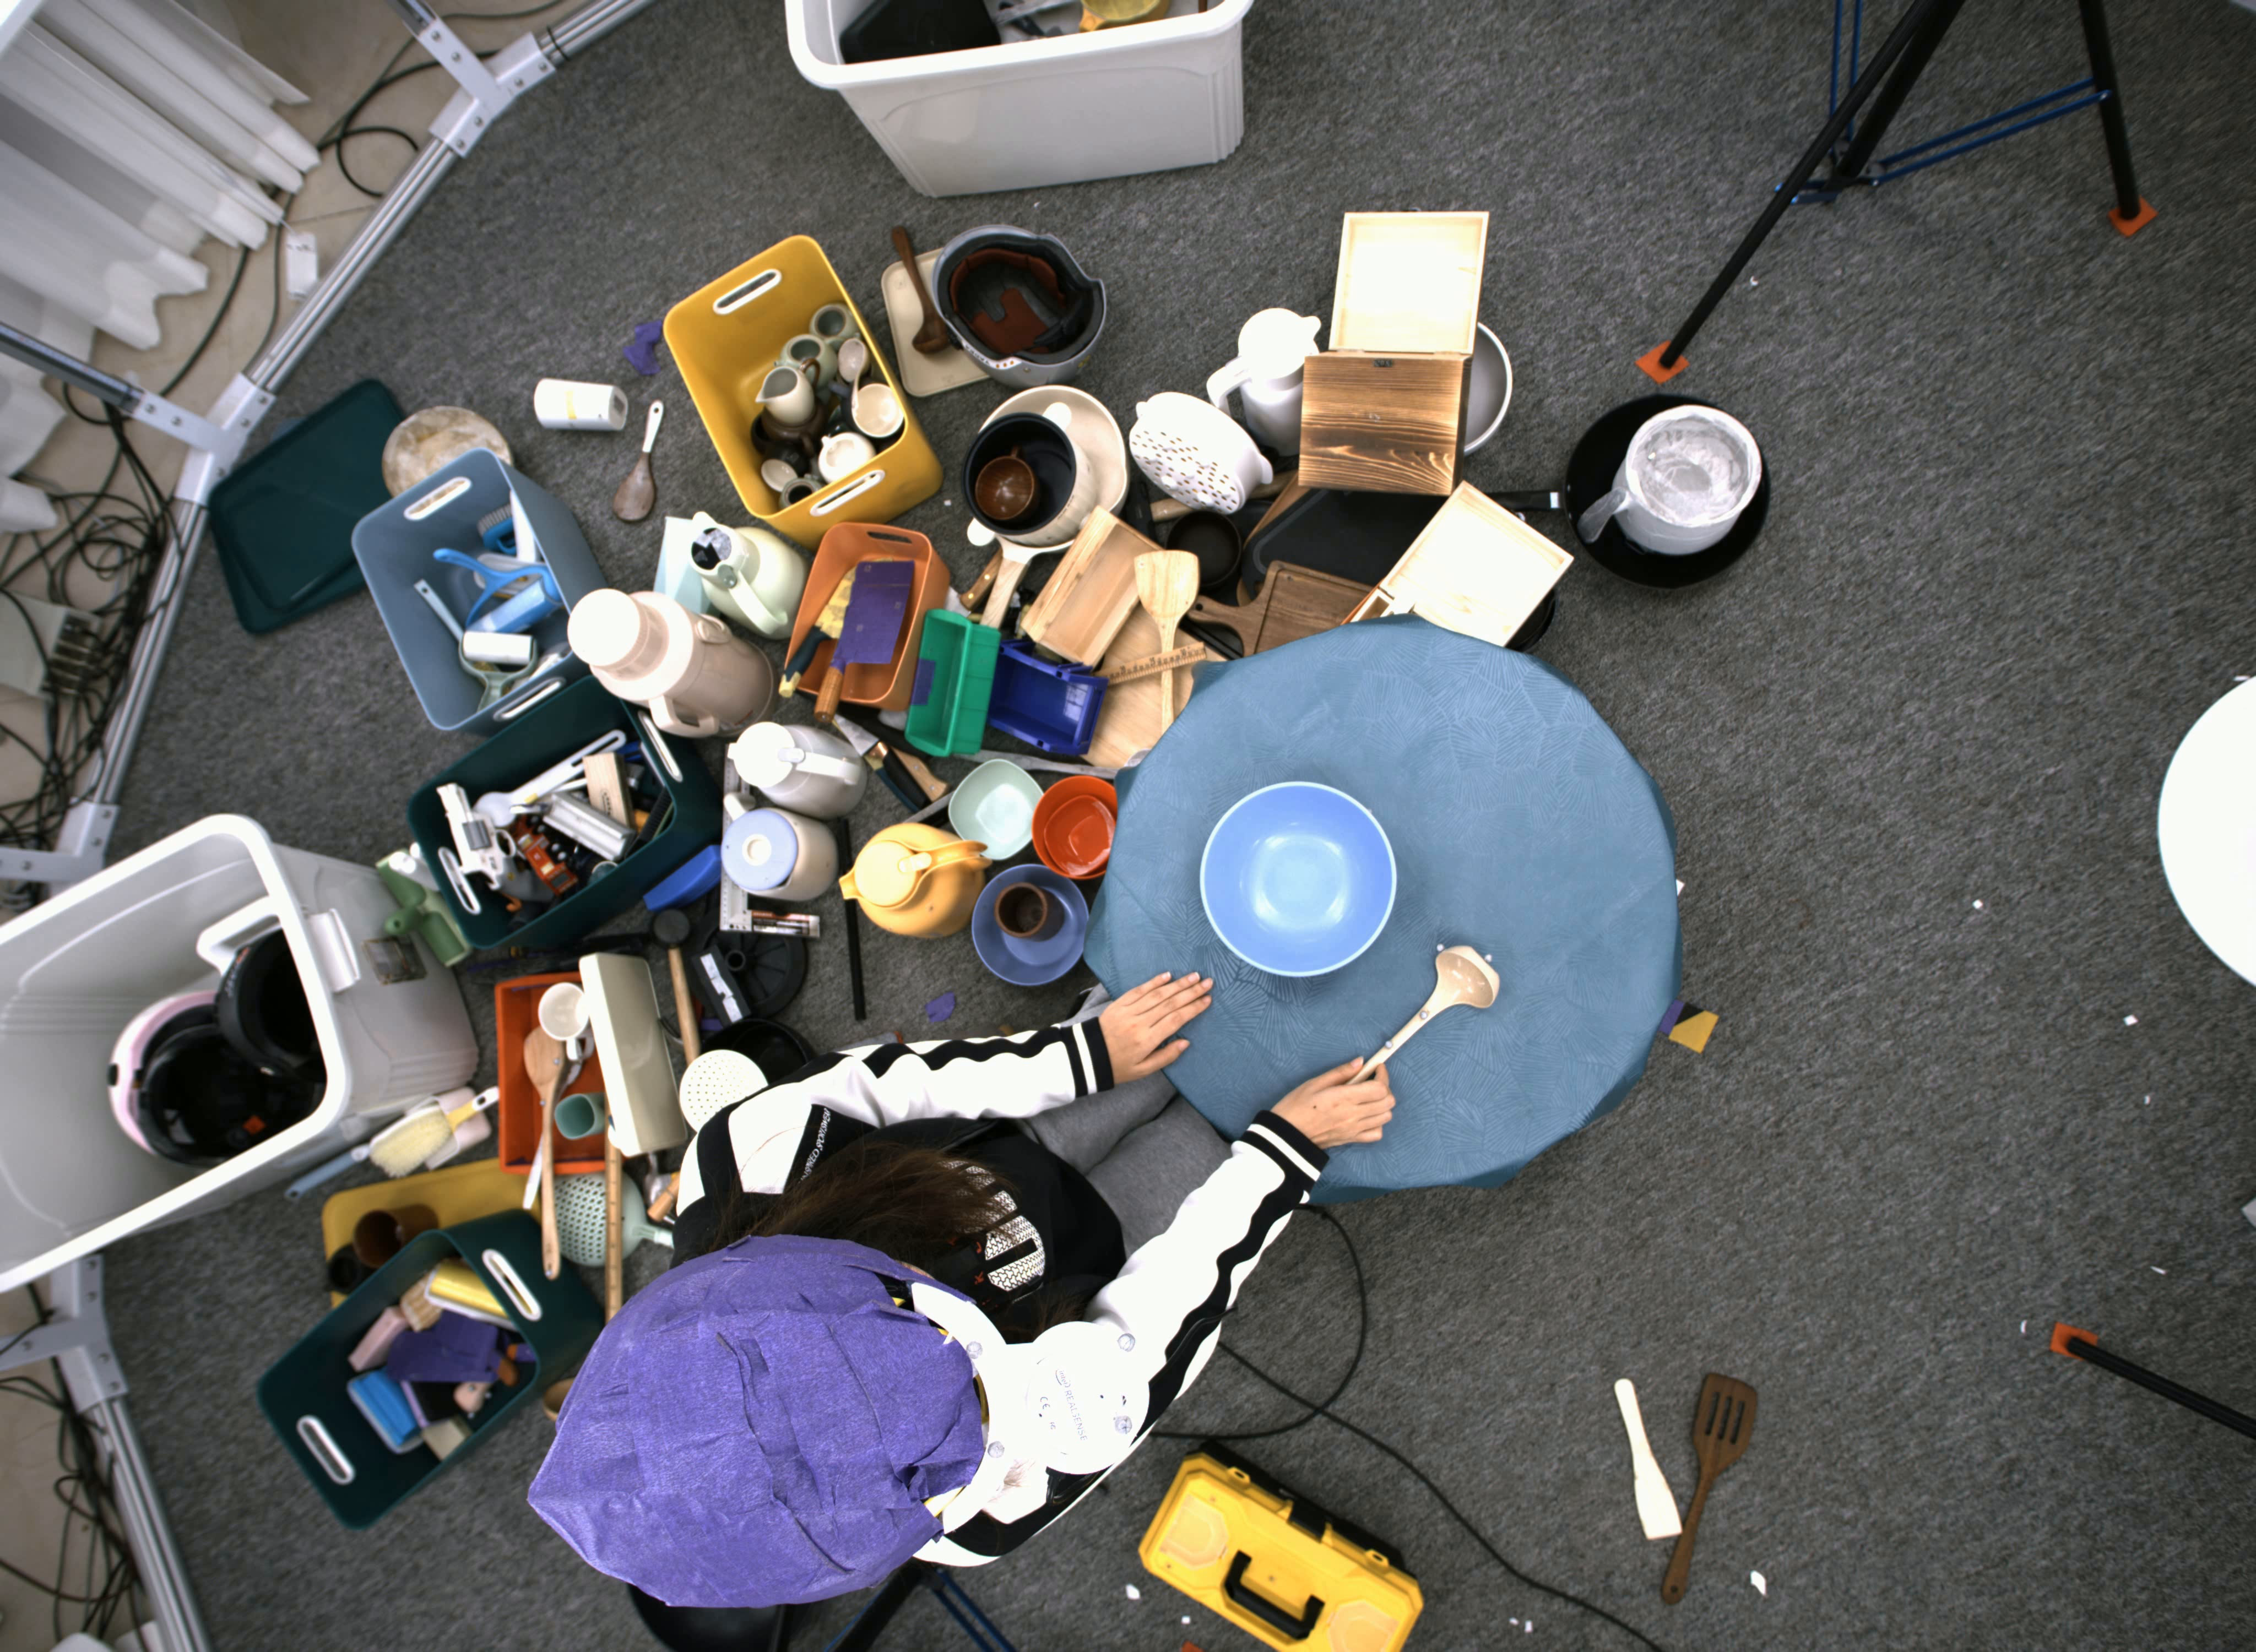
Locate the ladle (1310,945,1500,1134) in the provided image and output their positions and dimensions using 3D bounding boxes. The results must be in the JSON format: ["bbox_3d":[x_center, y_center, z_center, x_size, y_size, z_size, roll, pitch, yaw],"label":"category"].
[{"bbox_3d":[0.276,0.224,1.412,0.072,0.073,0.255,44,94,9],"label":"ladle"}]

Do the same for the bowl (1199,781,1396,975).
[{"bbox_3d":[0.176,0.057,1.429,0.197,0.096,0.195,-1,84,9],"label":"bowl"}]
